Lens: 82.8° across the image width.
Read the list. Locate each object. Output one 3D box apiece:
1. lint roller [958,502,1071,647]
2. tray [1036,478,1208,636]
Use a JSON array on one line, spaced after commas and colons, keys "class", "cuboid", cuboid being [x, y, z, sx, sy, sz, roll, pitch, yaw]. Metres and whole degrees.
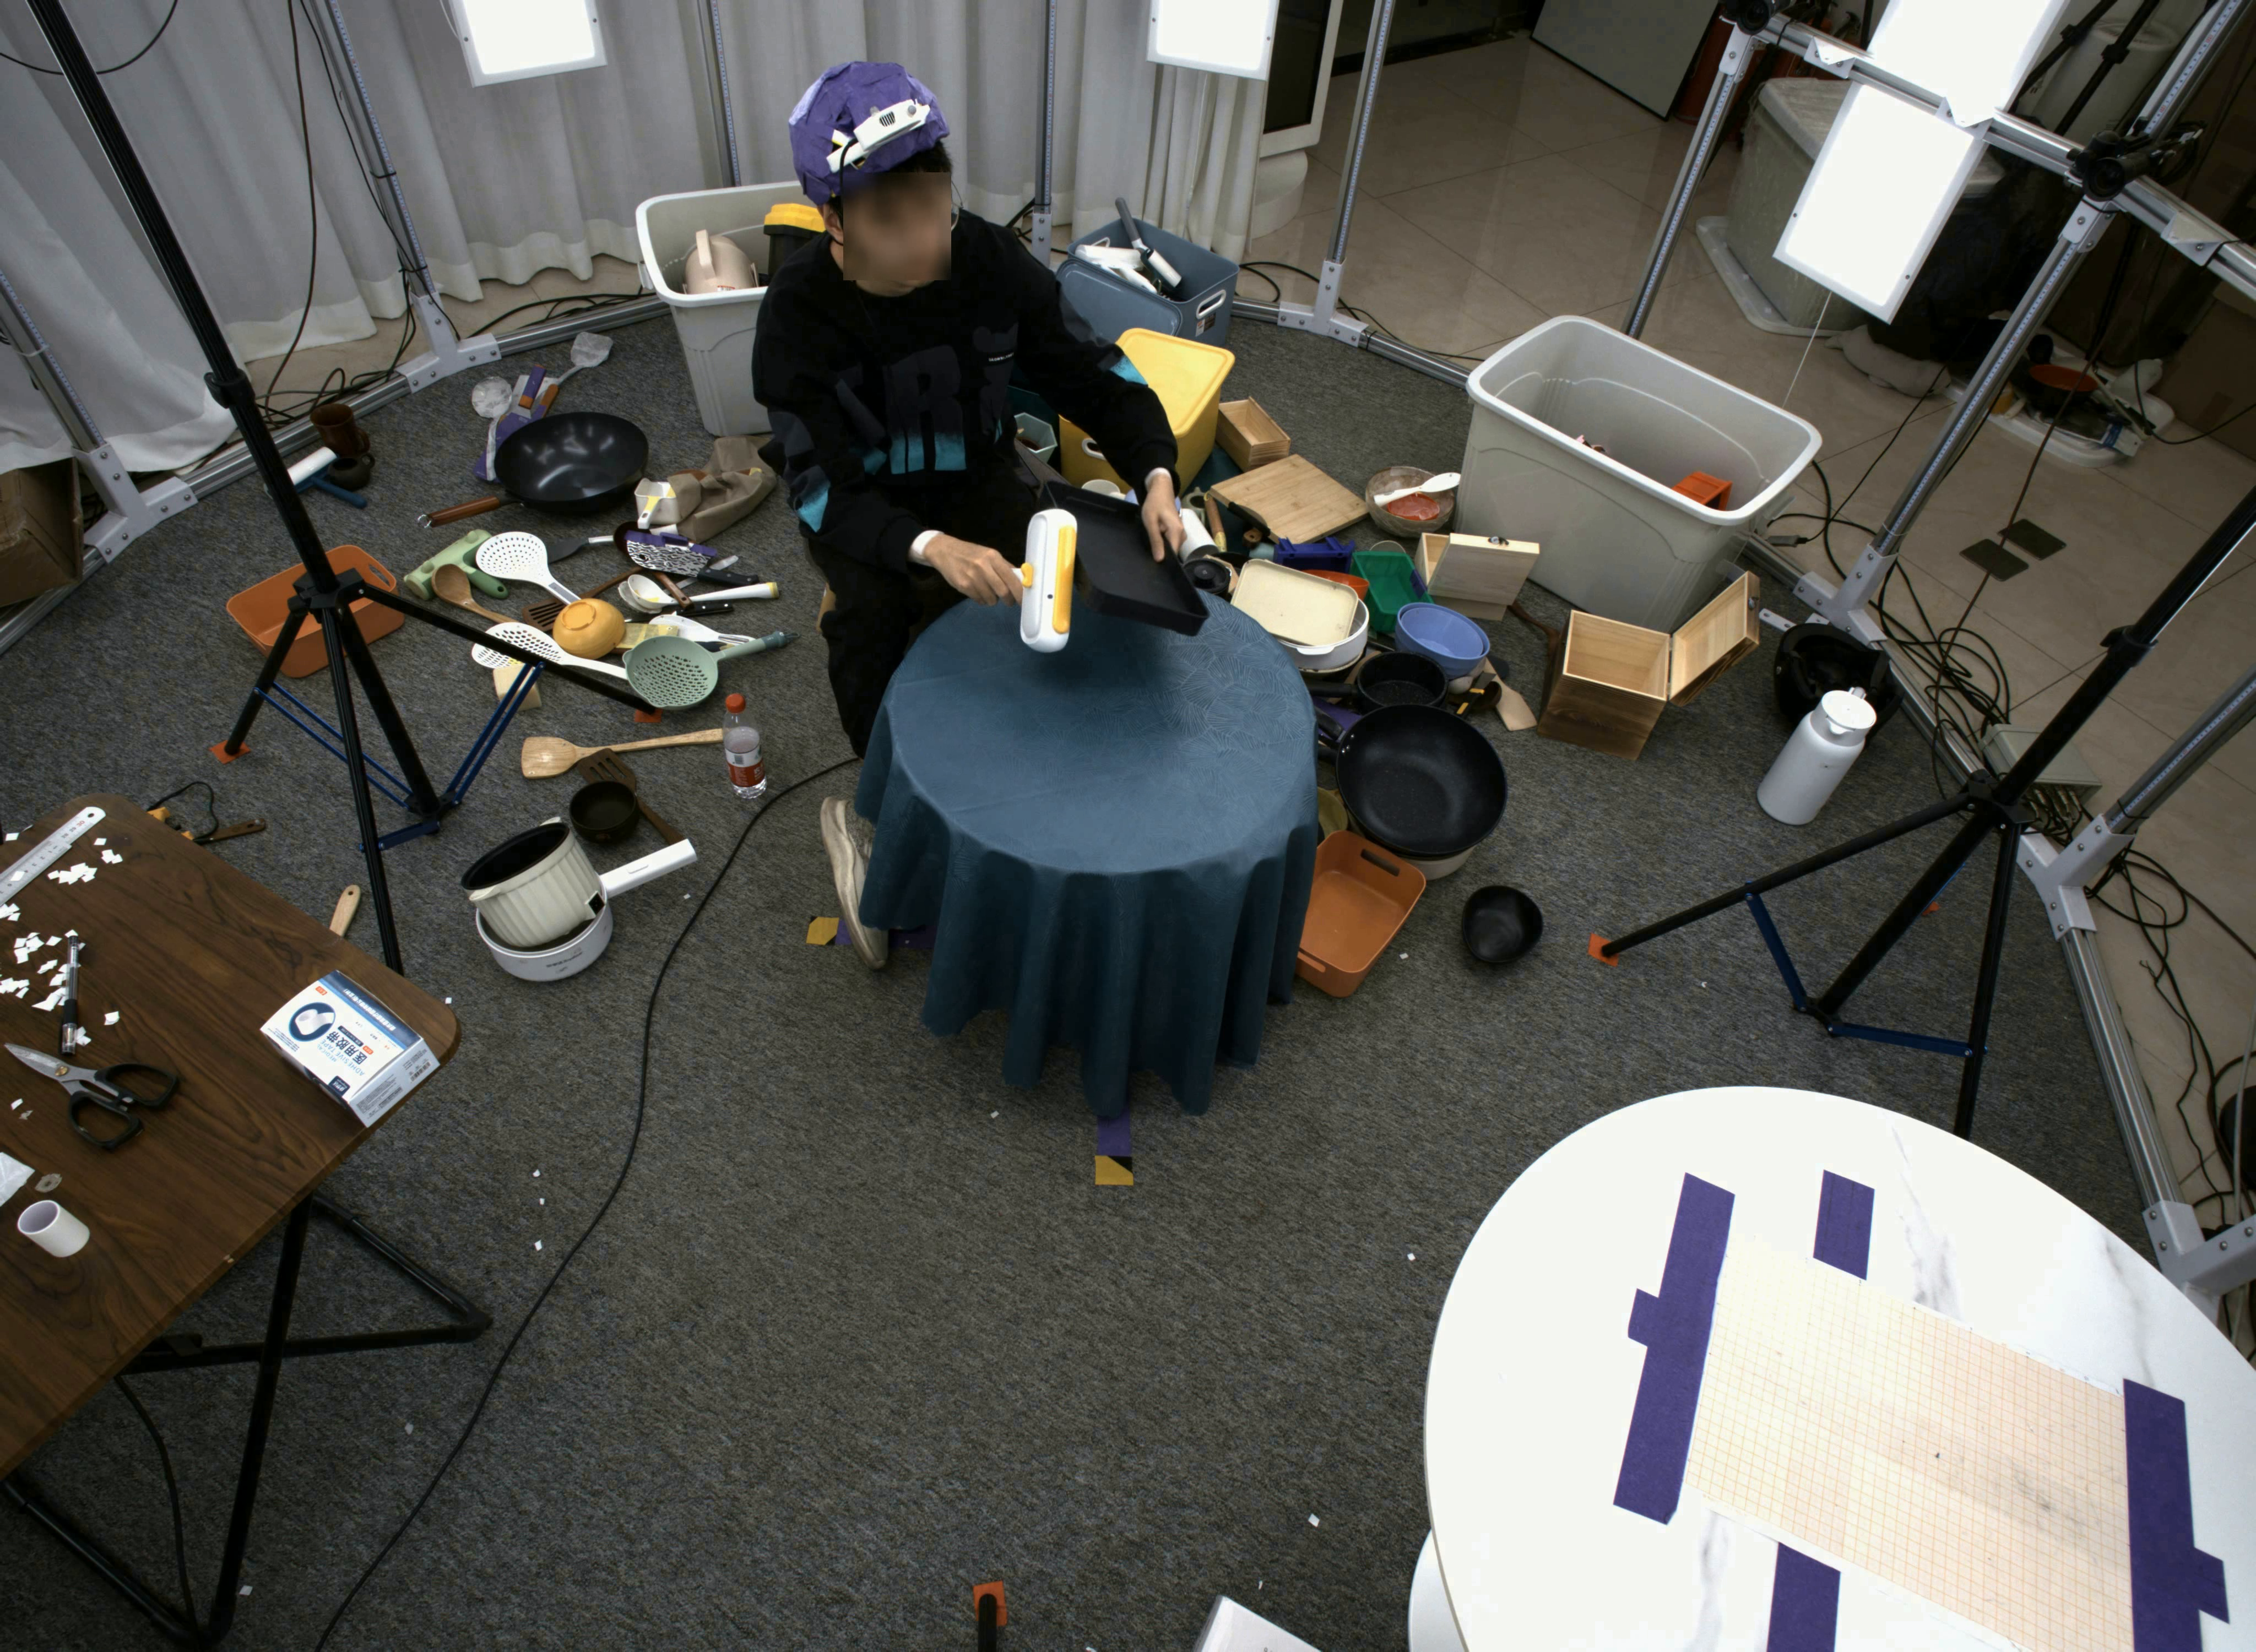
[{"class": "lint roller", "cuboid": [-0.155, -0.341, 1.780, 0.074, 0.193, 0.193, -2, 1, -45]}, {"class": "tray", "cuboid": [-0.014, -0.387, 1.832, 0.183, 0.036, 0.326, 9, 37, -27]}]
